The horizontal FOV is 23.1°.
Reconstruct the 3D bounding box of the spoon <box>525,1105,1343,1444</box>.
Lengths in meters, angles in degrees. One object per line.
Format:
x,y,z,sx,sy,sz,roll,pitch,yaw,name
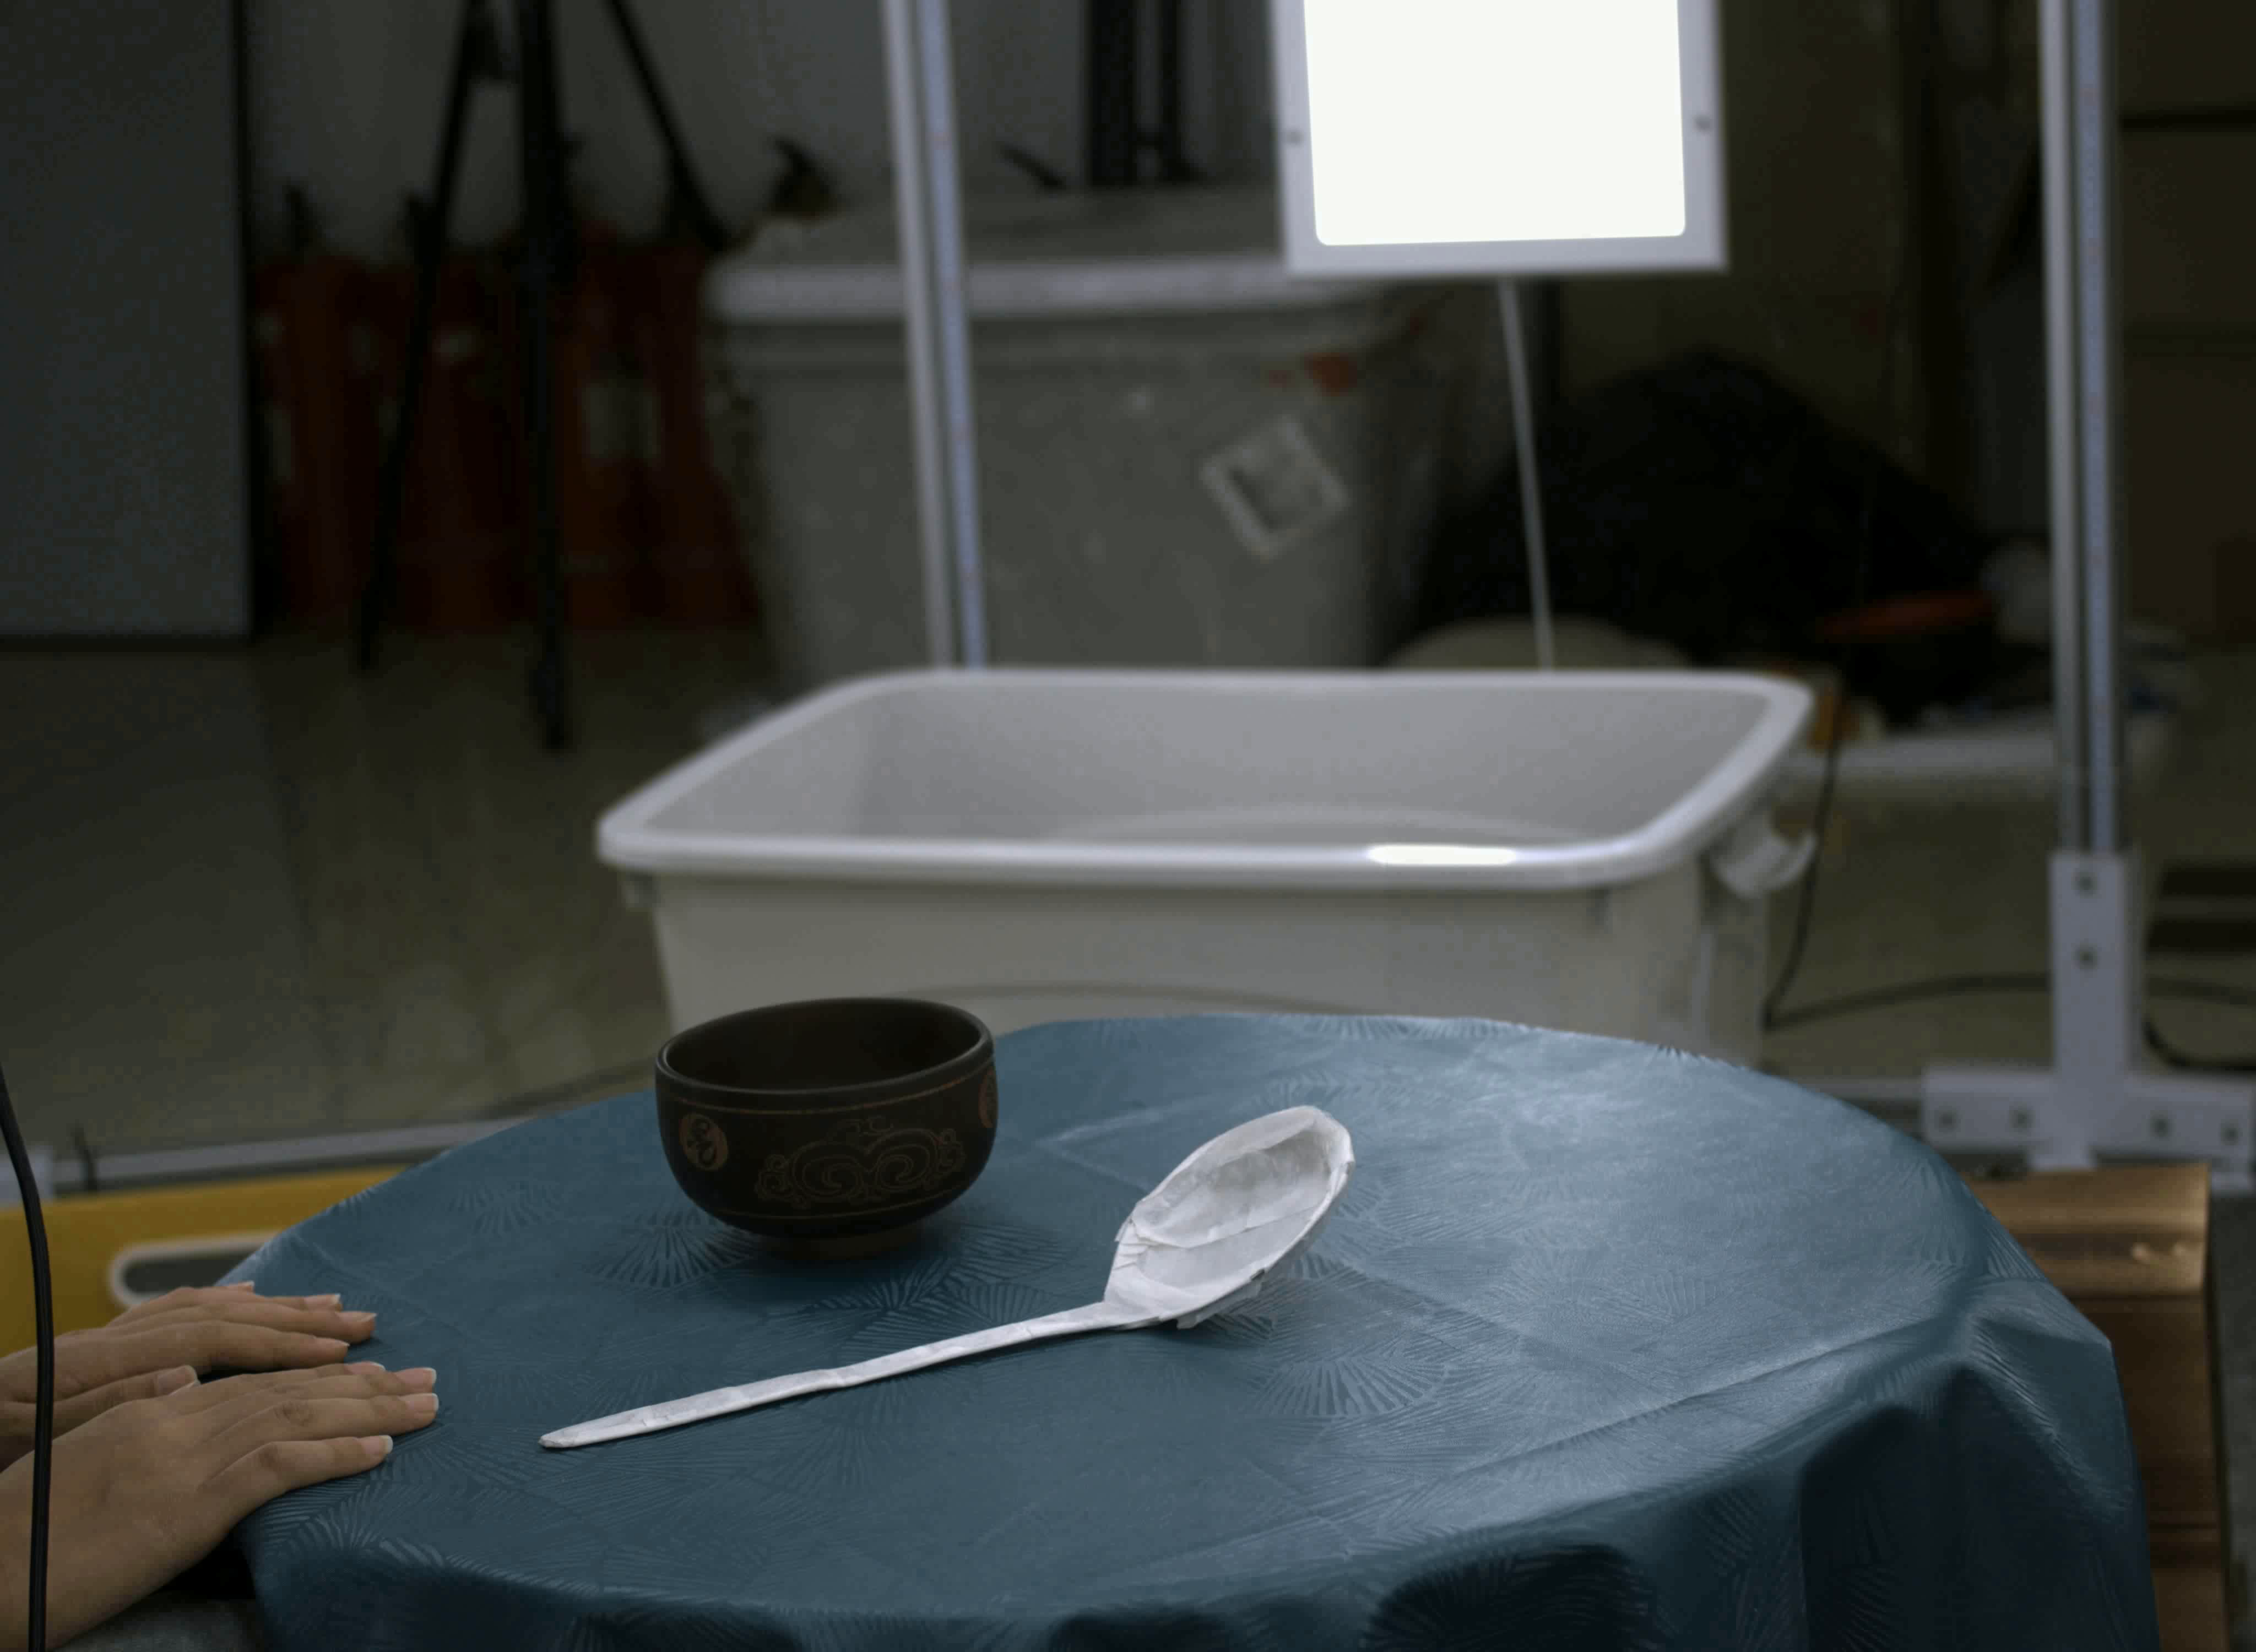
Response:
-0.061,0.140,1.746,0.273,0.059,0.102,-9,11,-18,spoon

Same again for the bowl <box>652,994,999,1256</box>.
-0.101,0.105,1.870,0.118,0.070,0.118,-5,13,0,bowl
